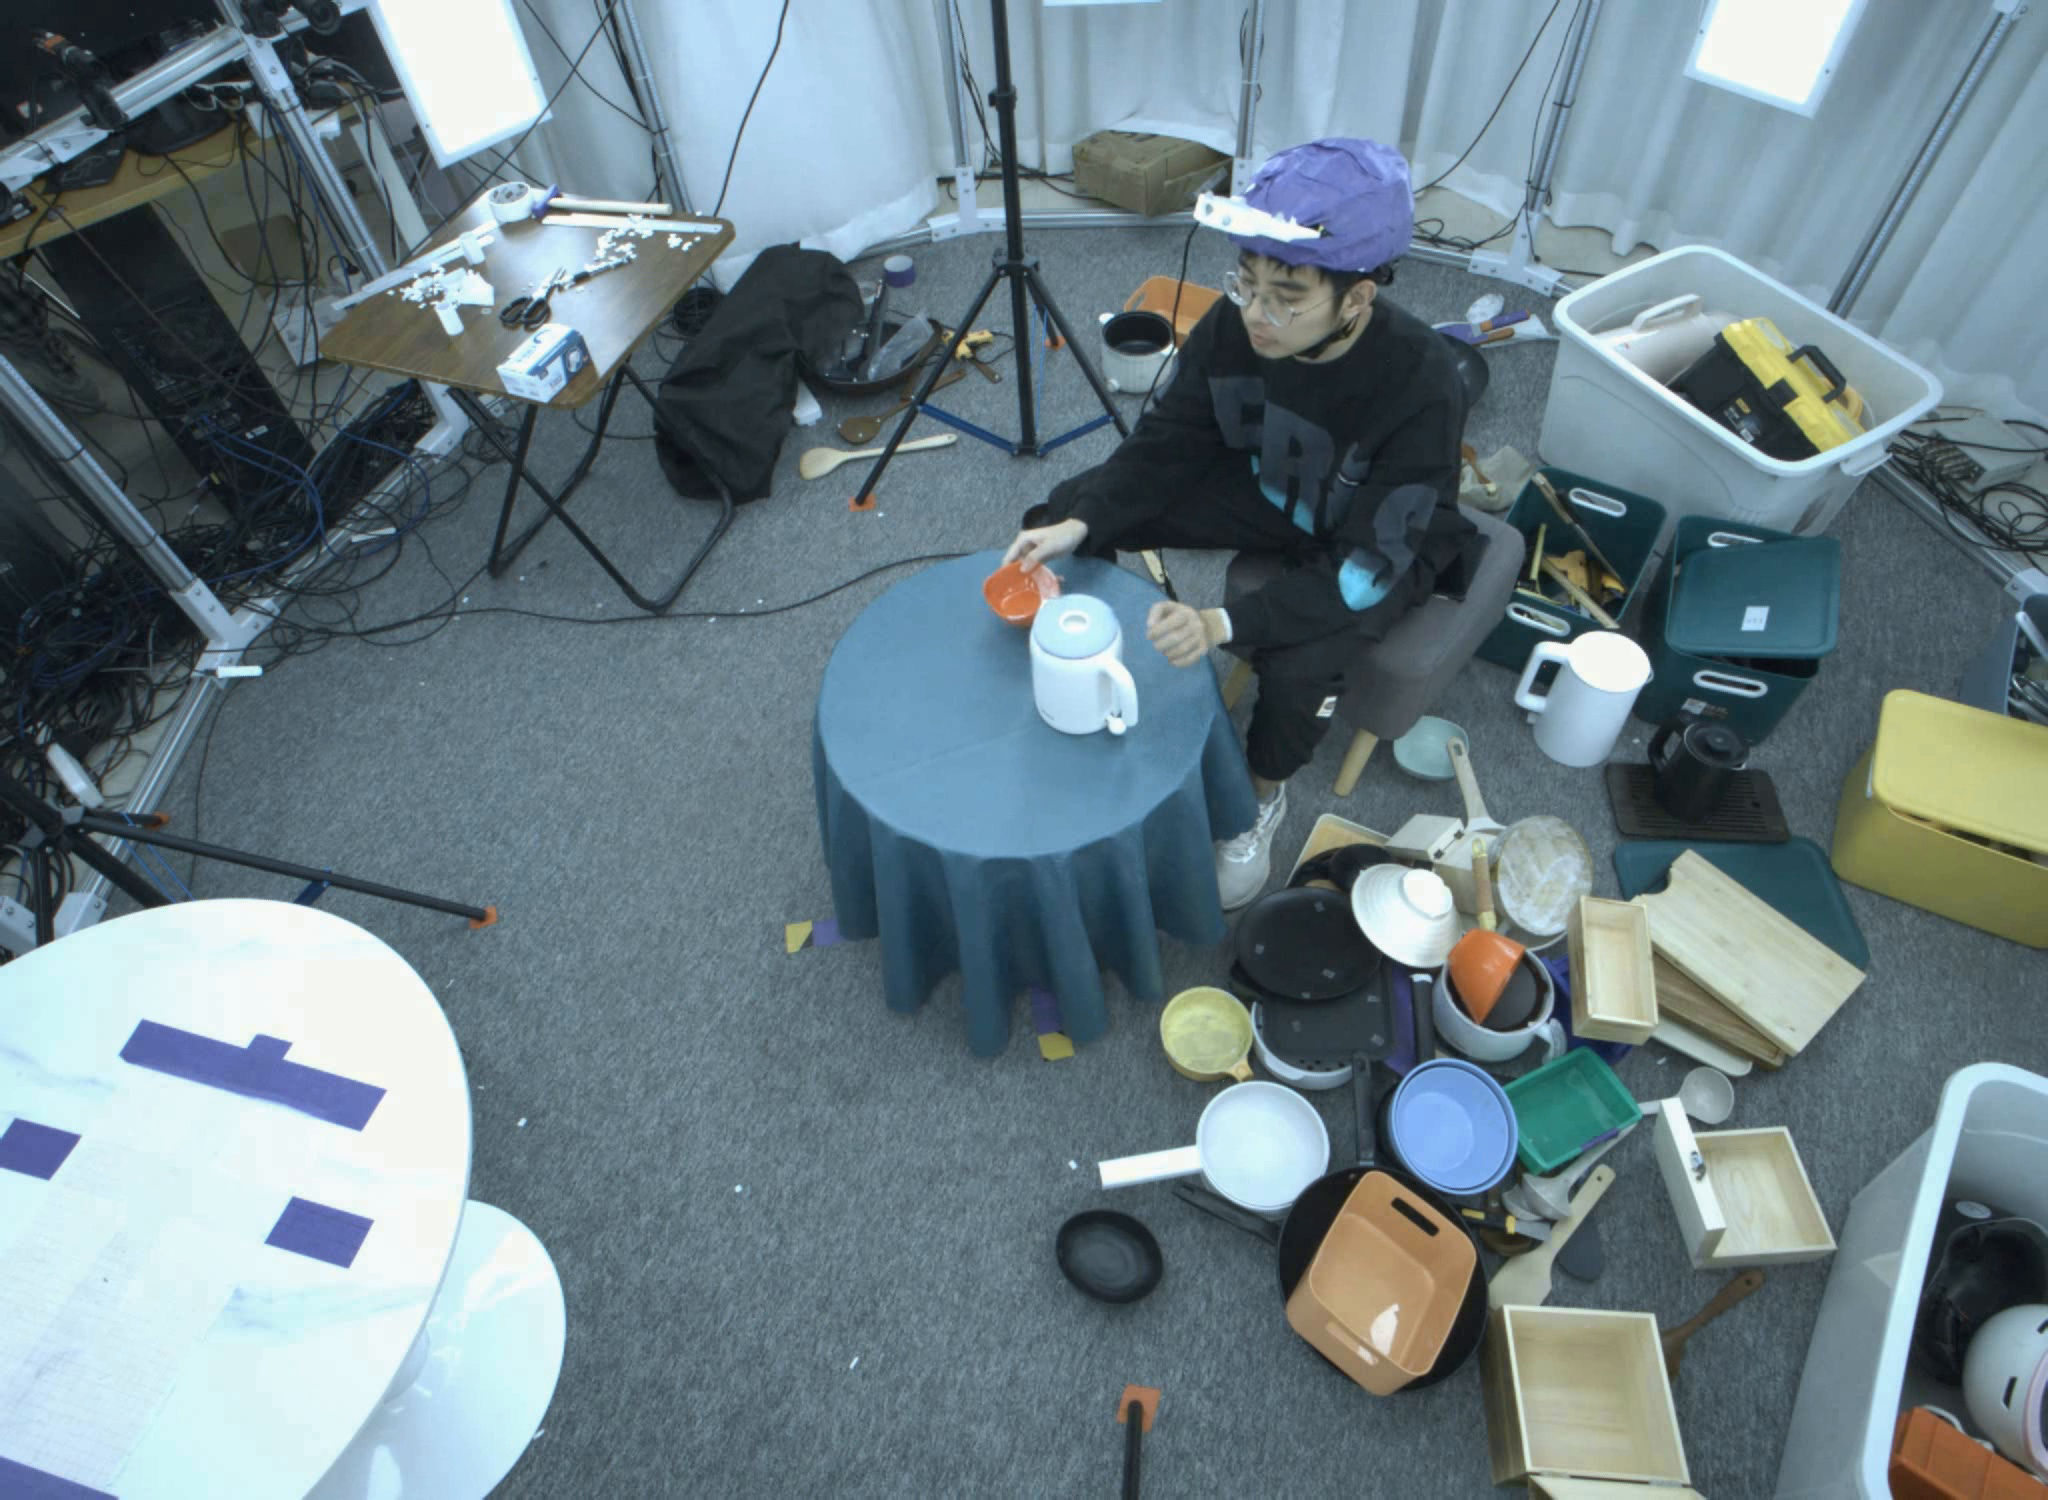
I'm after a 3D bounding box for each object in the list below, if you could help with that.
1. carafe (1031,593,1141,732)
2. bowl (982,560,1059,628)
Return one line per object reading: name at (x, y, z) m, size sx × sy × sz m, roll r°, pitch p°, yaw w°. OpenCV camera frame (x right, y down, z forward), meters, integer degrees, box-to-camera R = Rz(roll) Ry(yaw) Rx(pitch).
carafe at (0.094, -0.110, 1.753) m, size 0.133 × 0.184 × 0.188 m, roll -40°, pitch 64°, yaw -21°
bowl at (-0.002, -0.230, 1.868) m, size 0.118 × 0.052 × 0.117 m, roll -4°, pitch 54°, yaw 7°
